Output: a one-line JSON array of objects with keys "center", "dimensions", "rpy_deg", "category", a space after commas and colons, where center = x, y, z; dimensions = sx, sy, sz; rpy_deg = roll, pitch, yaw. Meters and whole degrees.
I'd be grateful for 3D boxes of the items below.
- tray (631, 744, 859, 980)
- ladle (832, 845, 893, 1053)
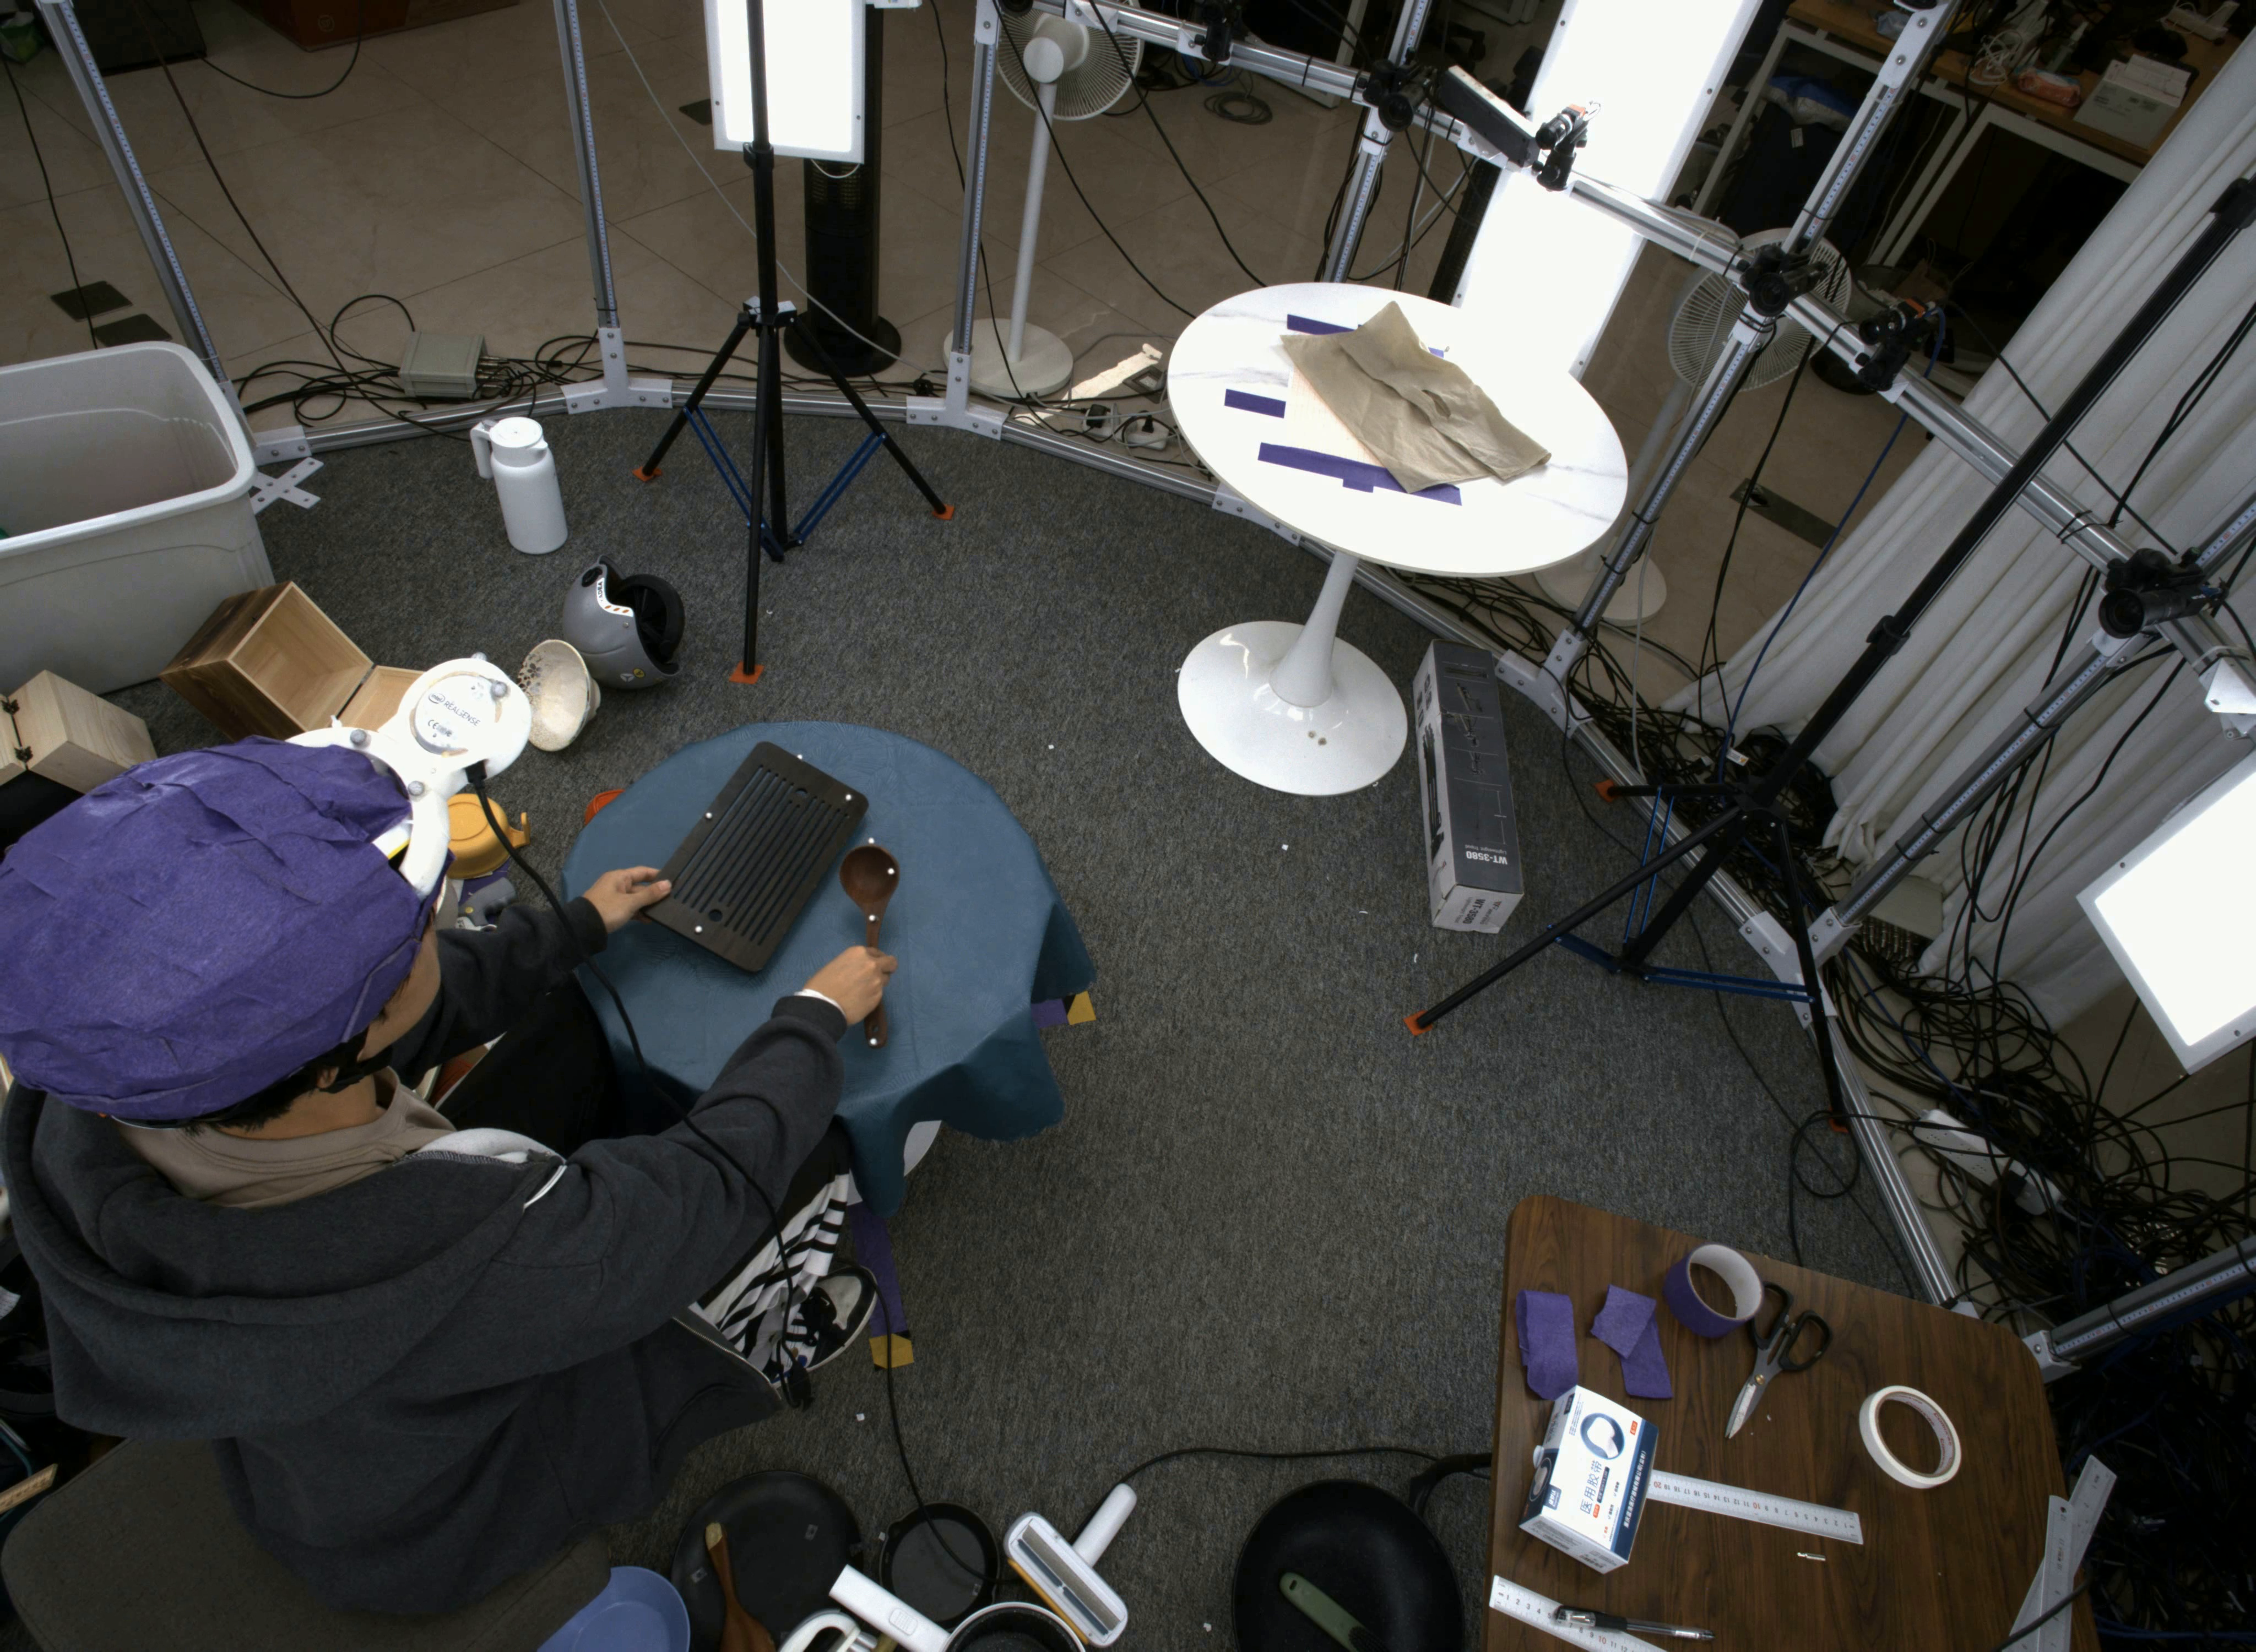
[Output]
[{"center": [-0.480, 0.039, 1.638], "dimensions": [0.171, 0.019, 0.303], "rpy_deg": [30, 52, -7], "category": "tray"}, {"center": [-0.319, 0.142, 1.566], "dimensions": [0.075, 0.067, 0.255], "rpy_deg": [-12, 58, 7], "category": "ladle"}]
